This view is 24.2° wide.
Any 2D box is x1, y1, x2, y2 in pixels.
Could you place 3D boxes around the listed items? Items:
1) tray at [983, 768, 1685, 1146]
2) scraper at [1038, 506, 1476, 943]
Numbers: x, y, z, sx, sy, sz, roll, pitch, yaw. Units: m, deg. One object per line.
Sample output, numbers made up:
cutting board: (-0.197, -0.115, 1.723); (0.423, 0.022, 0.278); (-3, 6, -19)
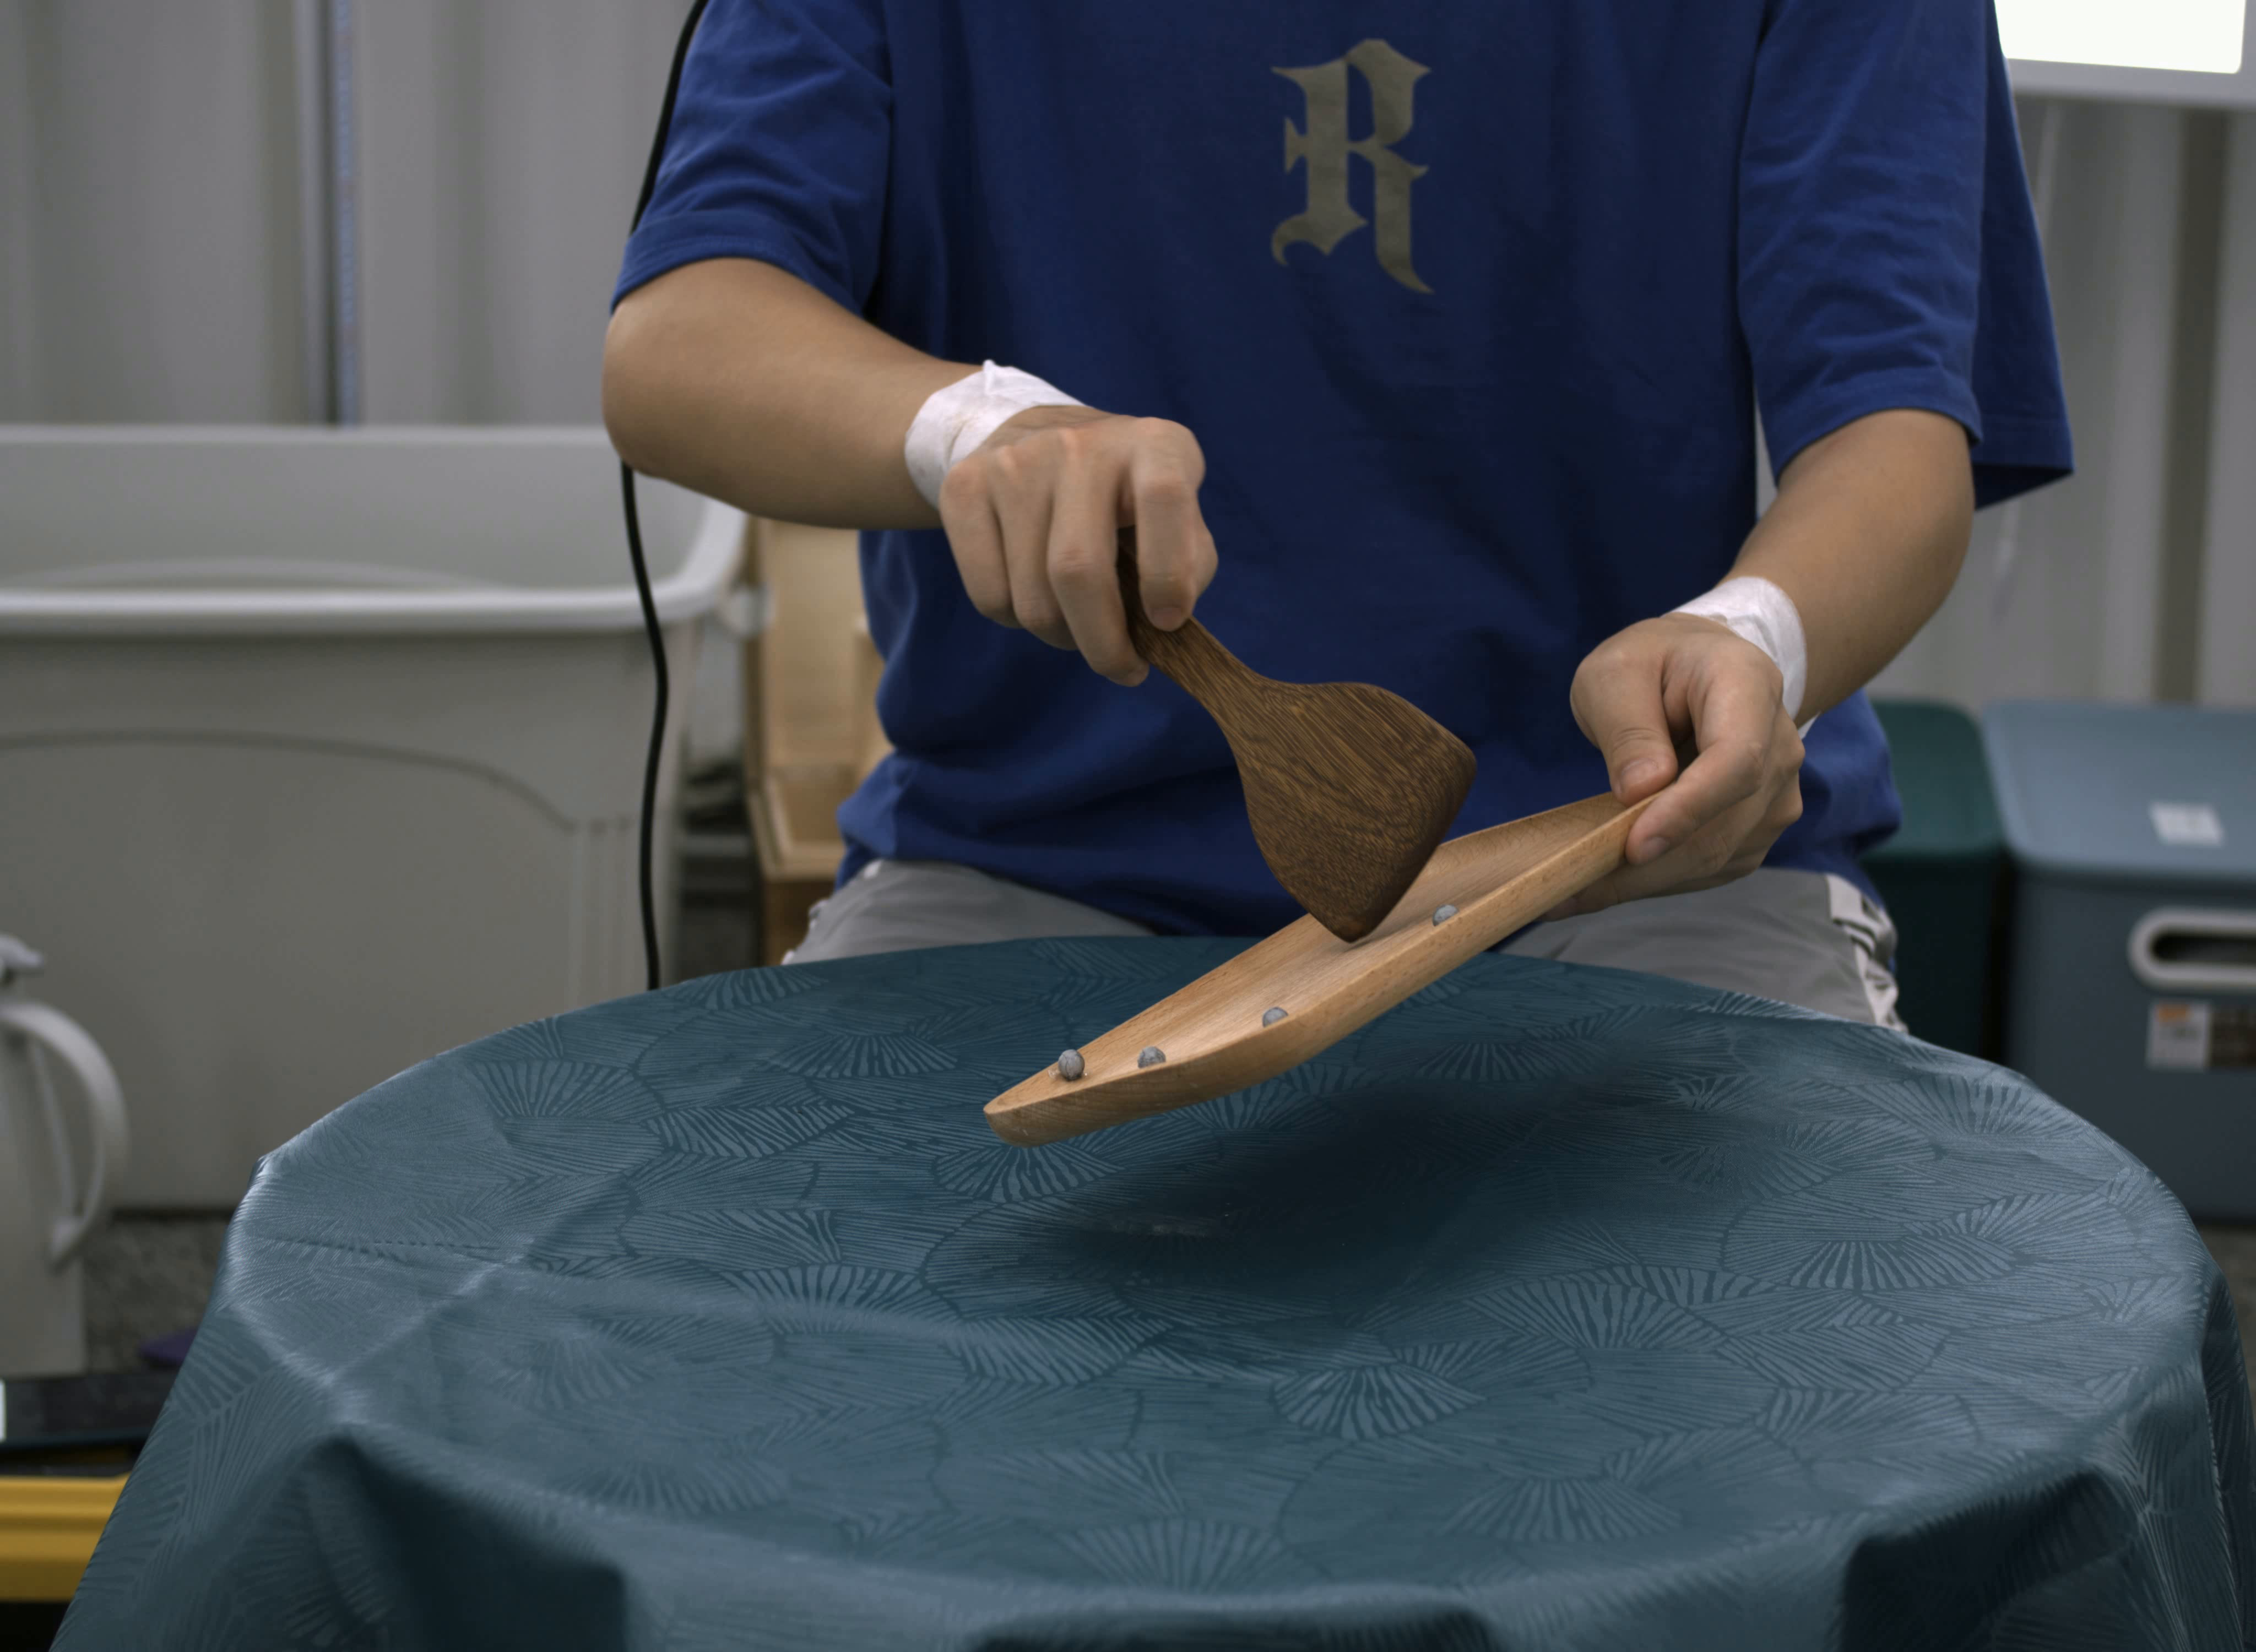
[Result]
tray: (0.067, 0.039, 1.616); (0.129, 0.023, 0.251); (-15, 9, 43)
scraper: (0.032, -0.044, 1.685); (0.011, 0.076, 0.208); (20, 18, -47)
